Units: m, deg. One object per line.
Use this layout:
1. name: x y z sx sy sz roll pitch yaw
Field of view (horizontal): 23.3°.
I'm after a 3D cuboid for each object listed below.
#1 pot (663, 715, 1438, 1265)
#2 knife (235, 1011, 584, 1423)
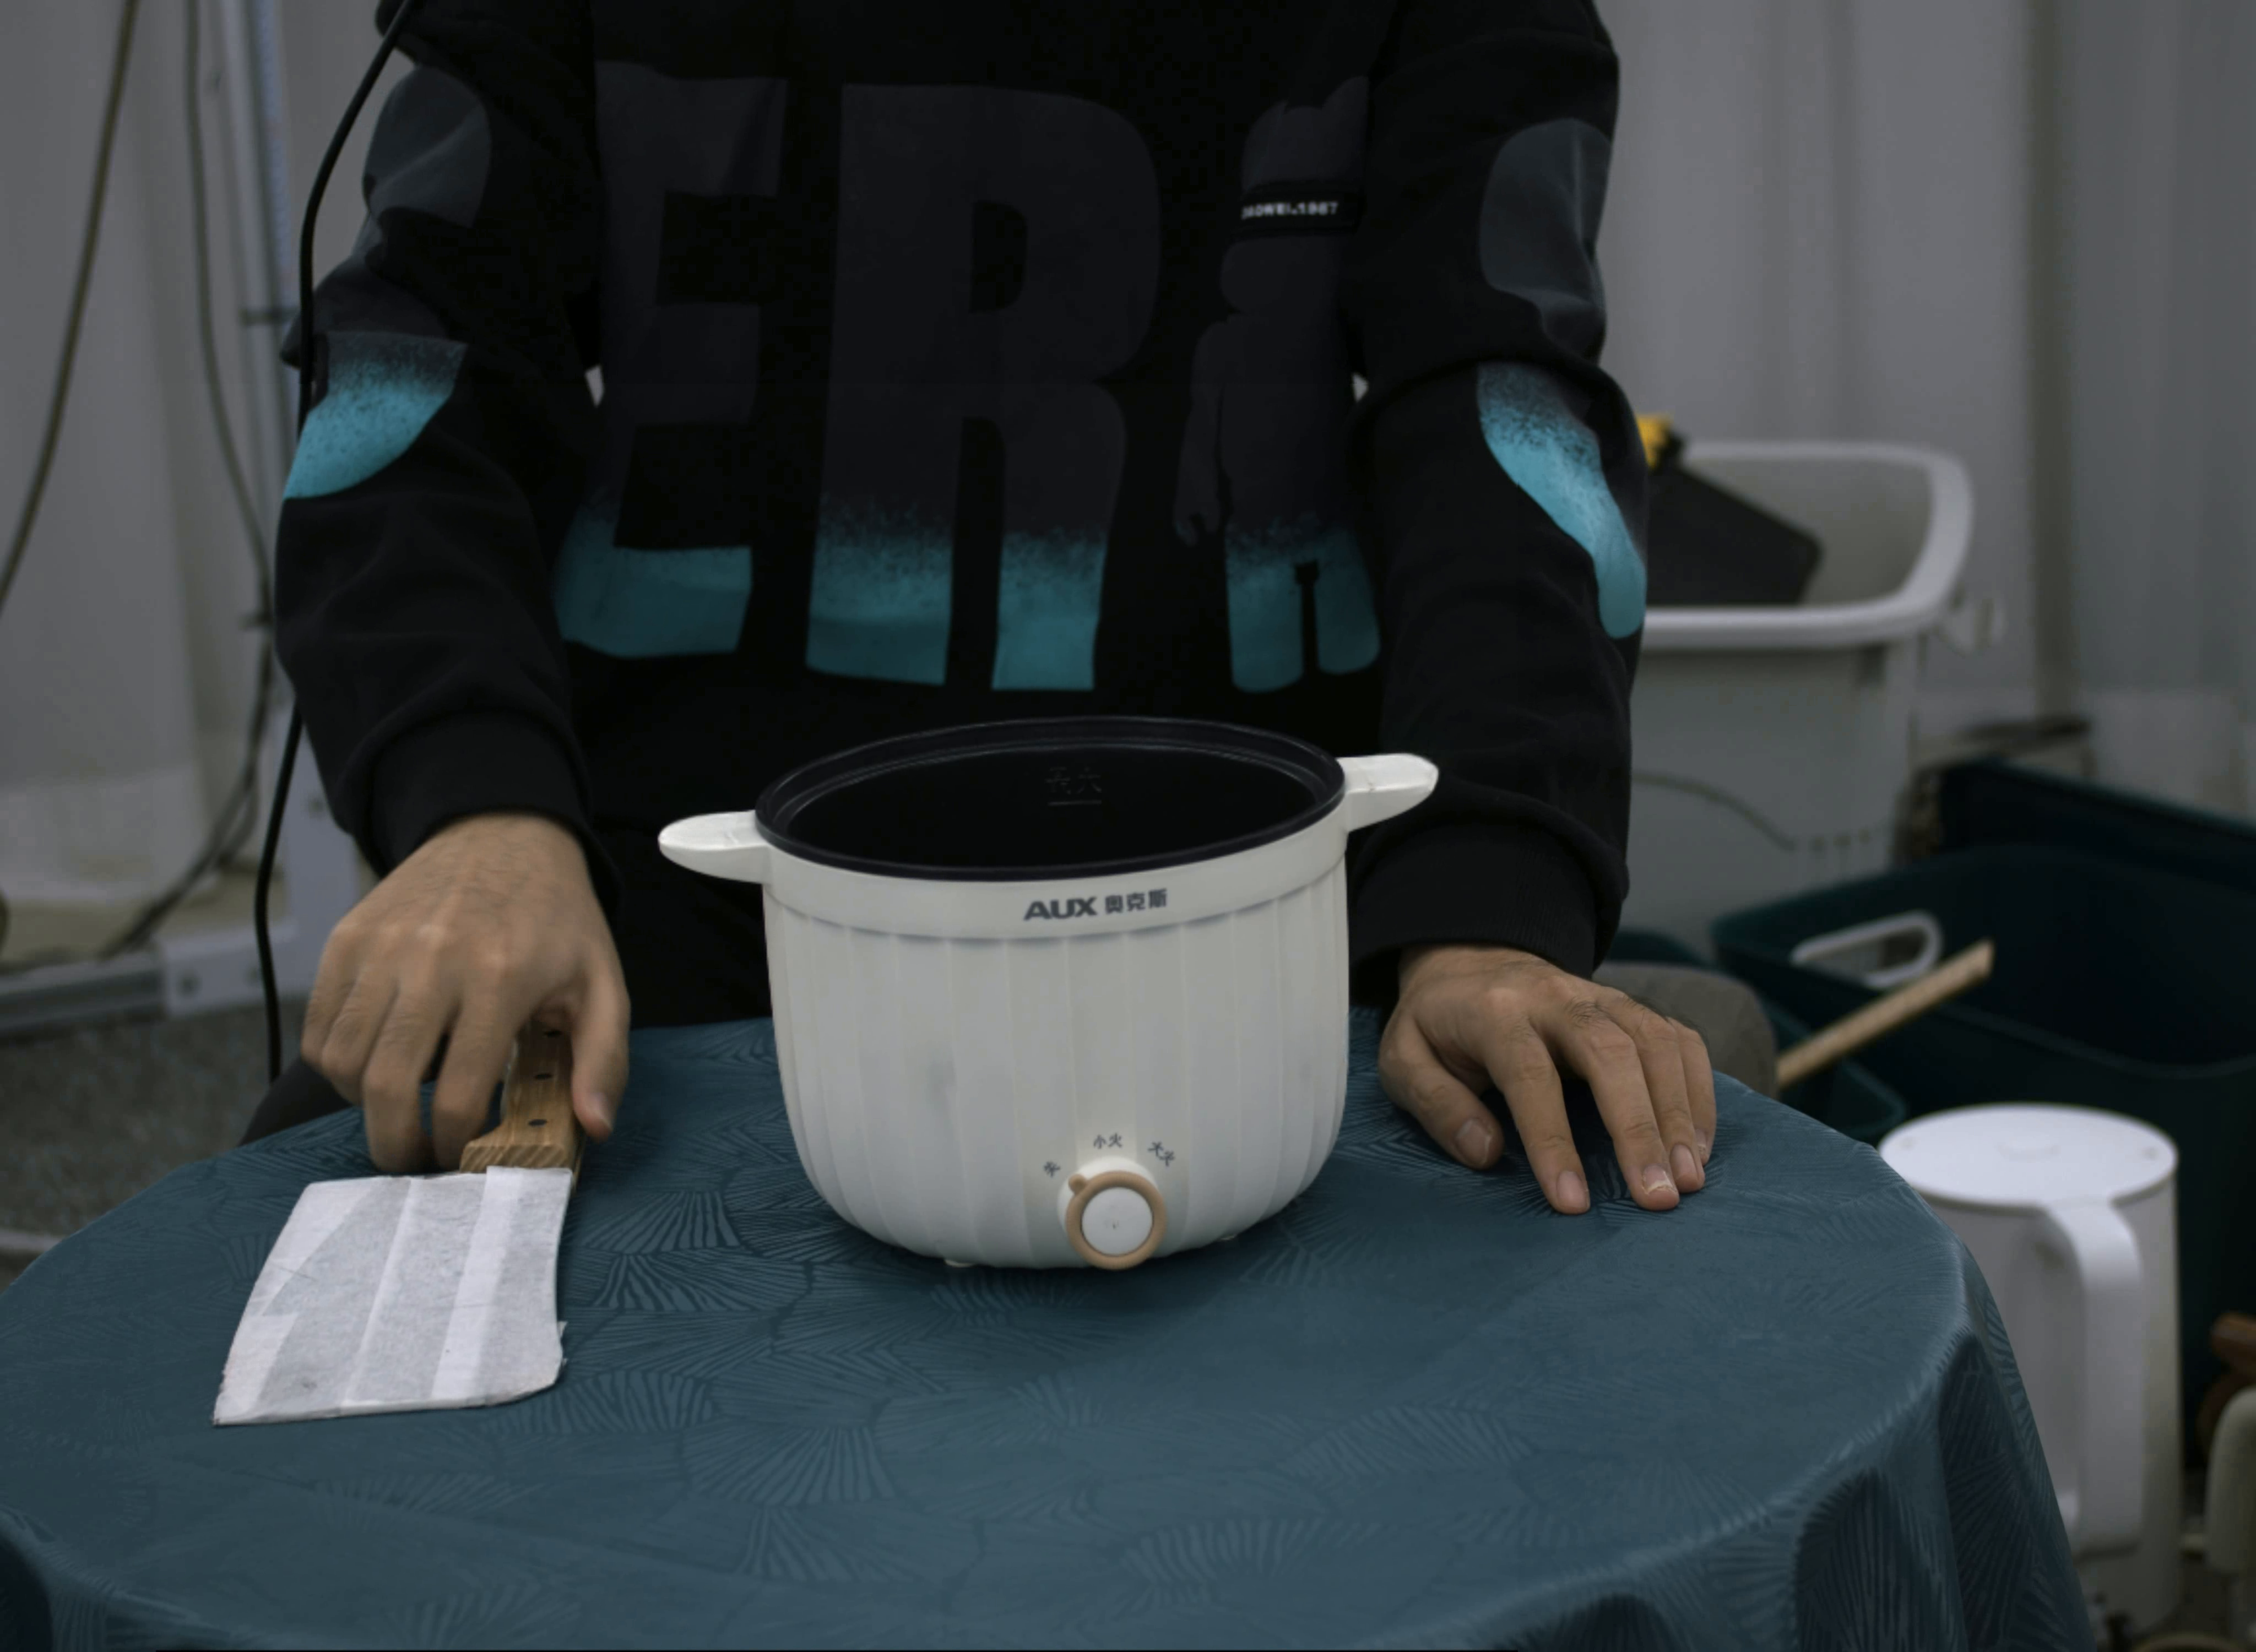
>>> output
1. pot: -0.018 0.053 1.681 0.239 0.142 0.191 -6 12 -8
2. knife: -0.207 0.120 1.702 0.113 0.021 0.318 -2 18 4
